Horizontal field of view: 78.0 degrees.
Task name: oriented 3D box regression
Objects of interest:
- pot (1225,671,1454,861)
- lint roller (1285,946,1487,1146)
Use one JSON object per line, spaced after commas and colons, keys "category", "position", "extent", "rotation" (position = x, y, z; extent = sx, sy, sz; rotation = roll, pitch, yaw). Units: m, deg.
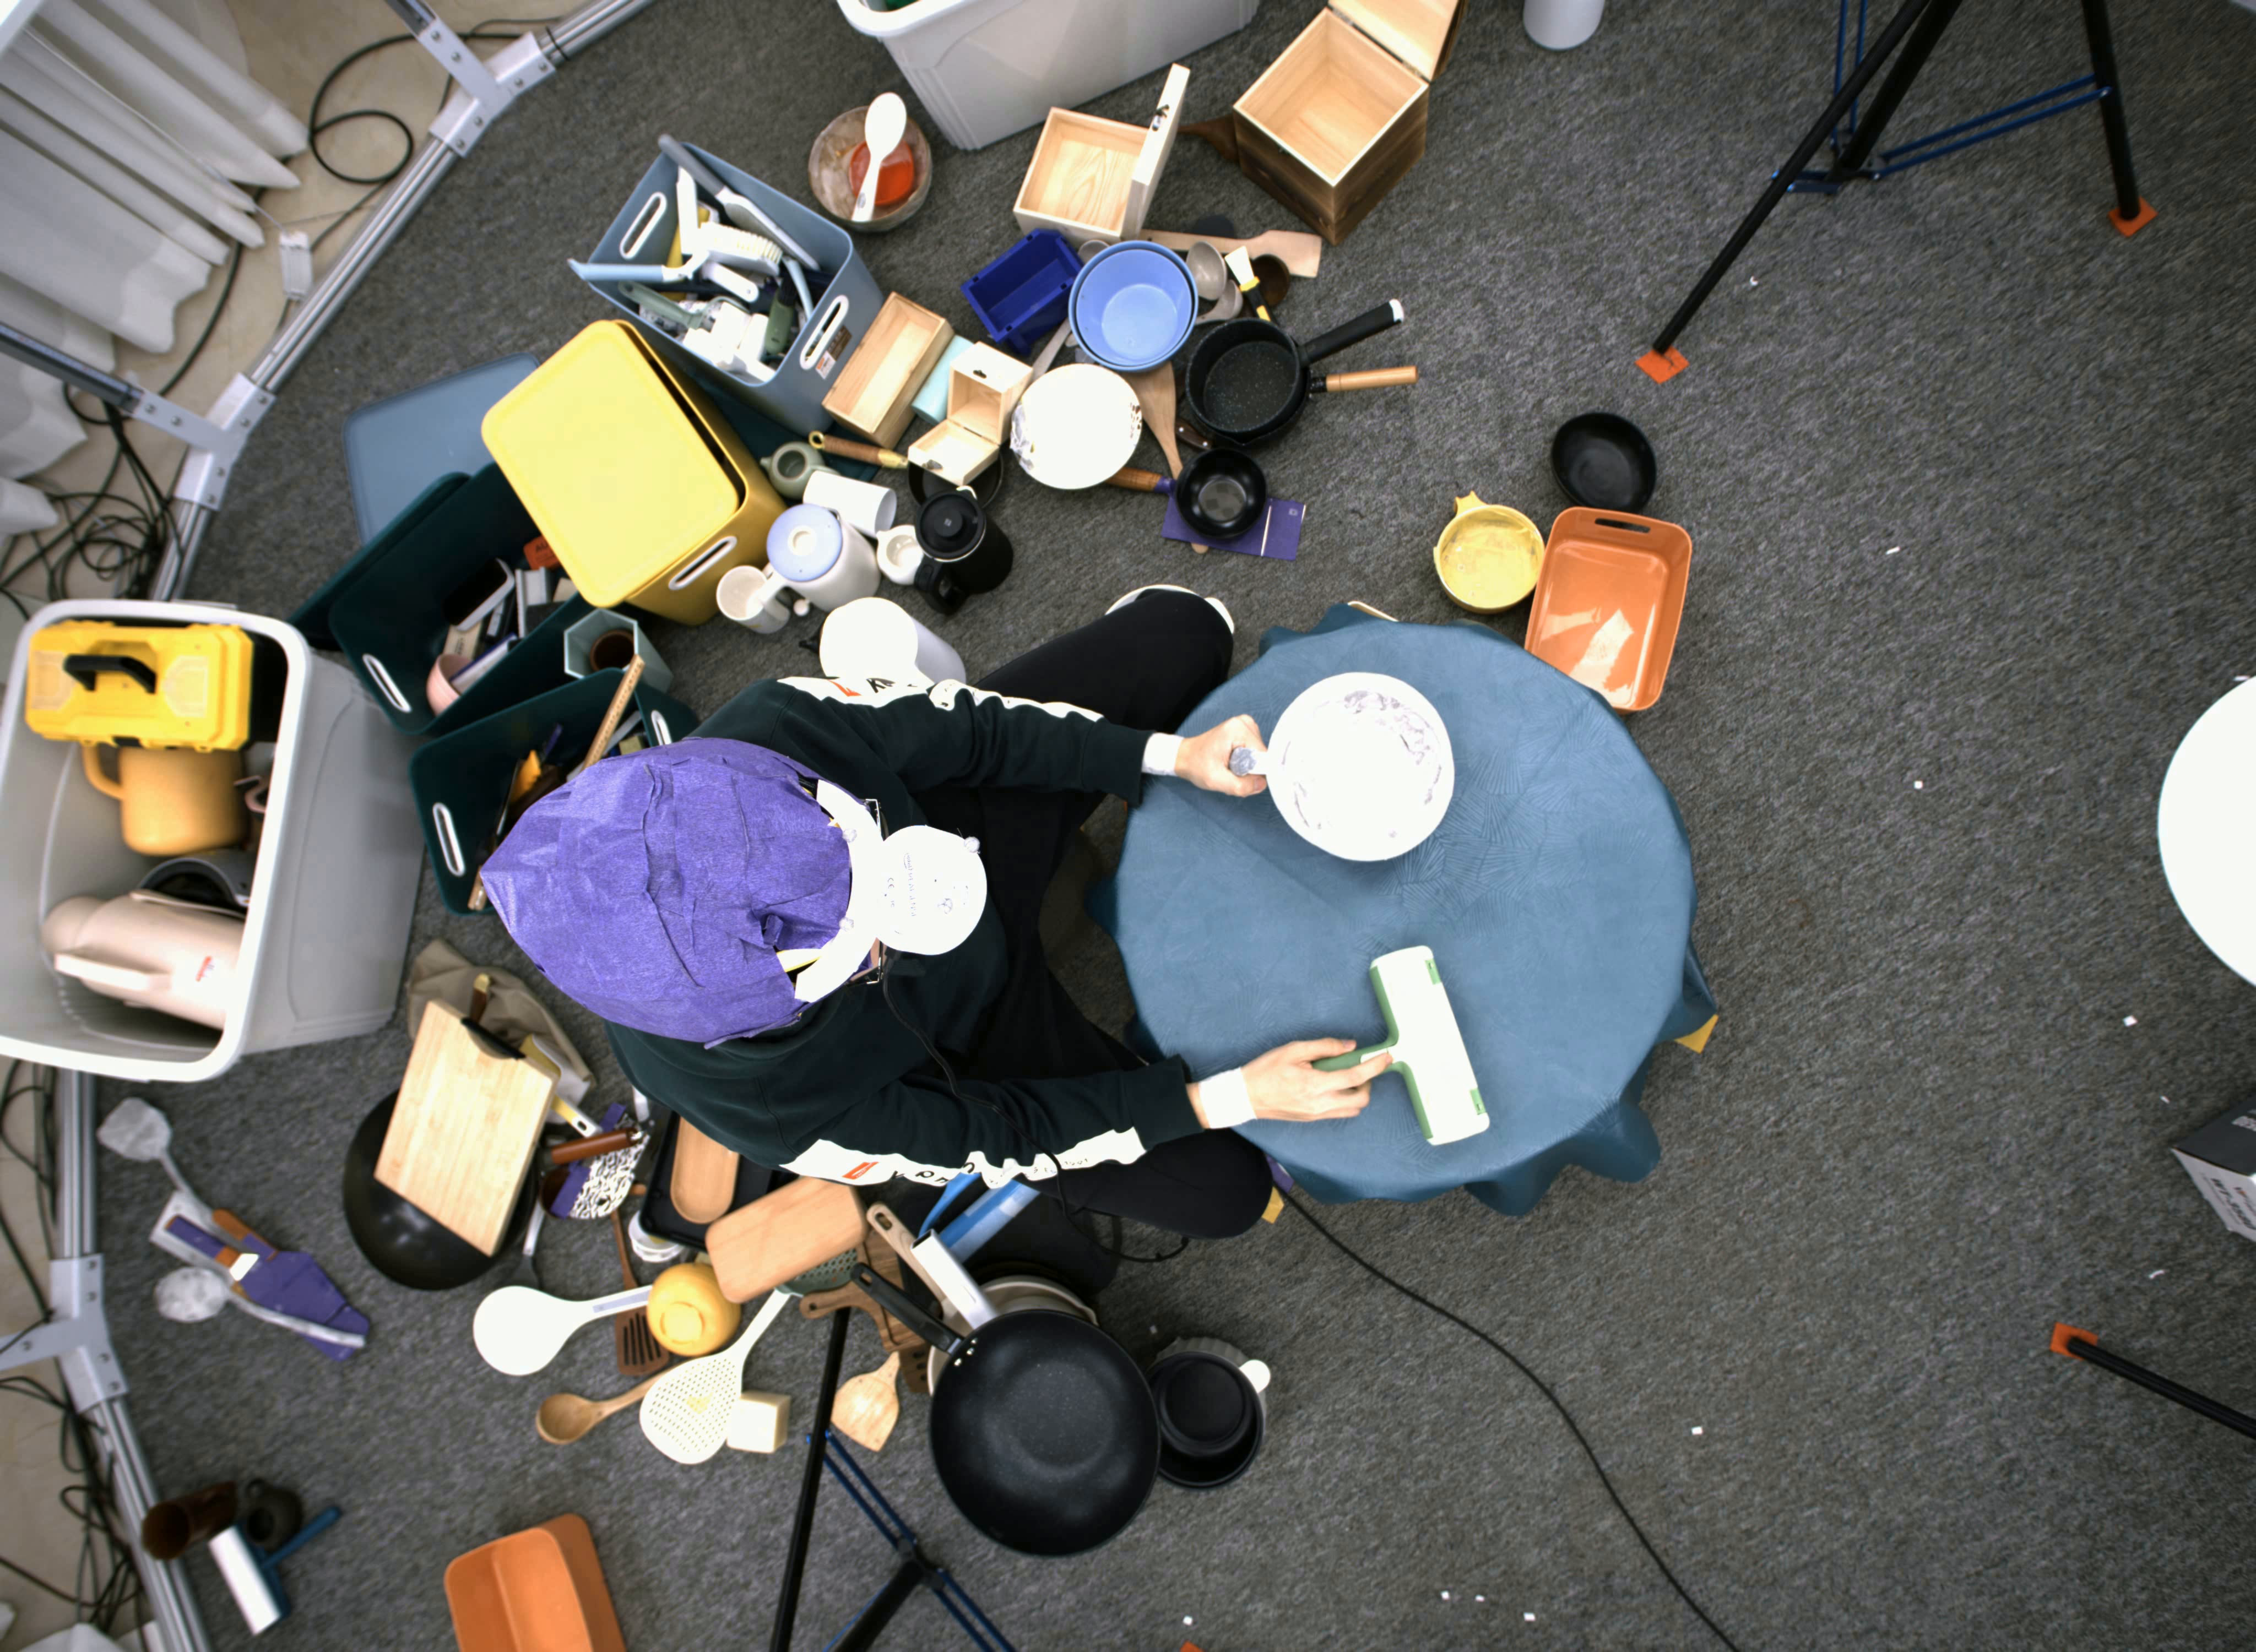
{"category": "pot", "position": [0.208, -0.057, 1.380], "extent": [0.234, 0.136, 0.178], "rotation": [3, 88, 15]}
{"category": "lint roller", "position": [0.246, 0.236, 1.398], "extent": [0.184, 0.082, 0.196], "rotation": [-18, 79, 6]}
